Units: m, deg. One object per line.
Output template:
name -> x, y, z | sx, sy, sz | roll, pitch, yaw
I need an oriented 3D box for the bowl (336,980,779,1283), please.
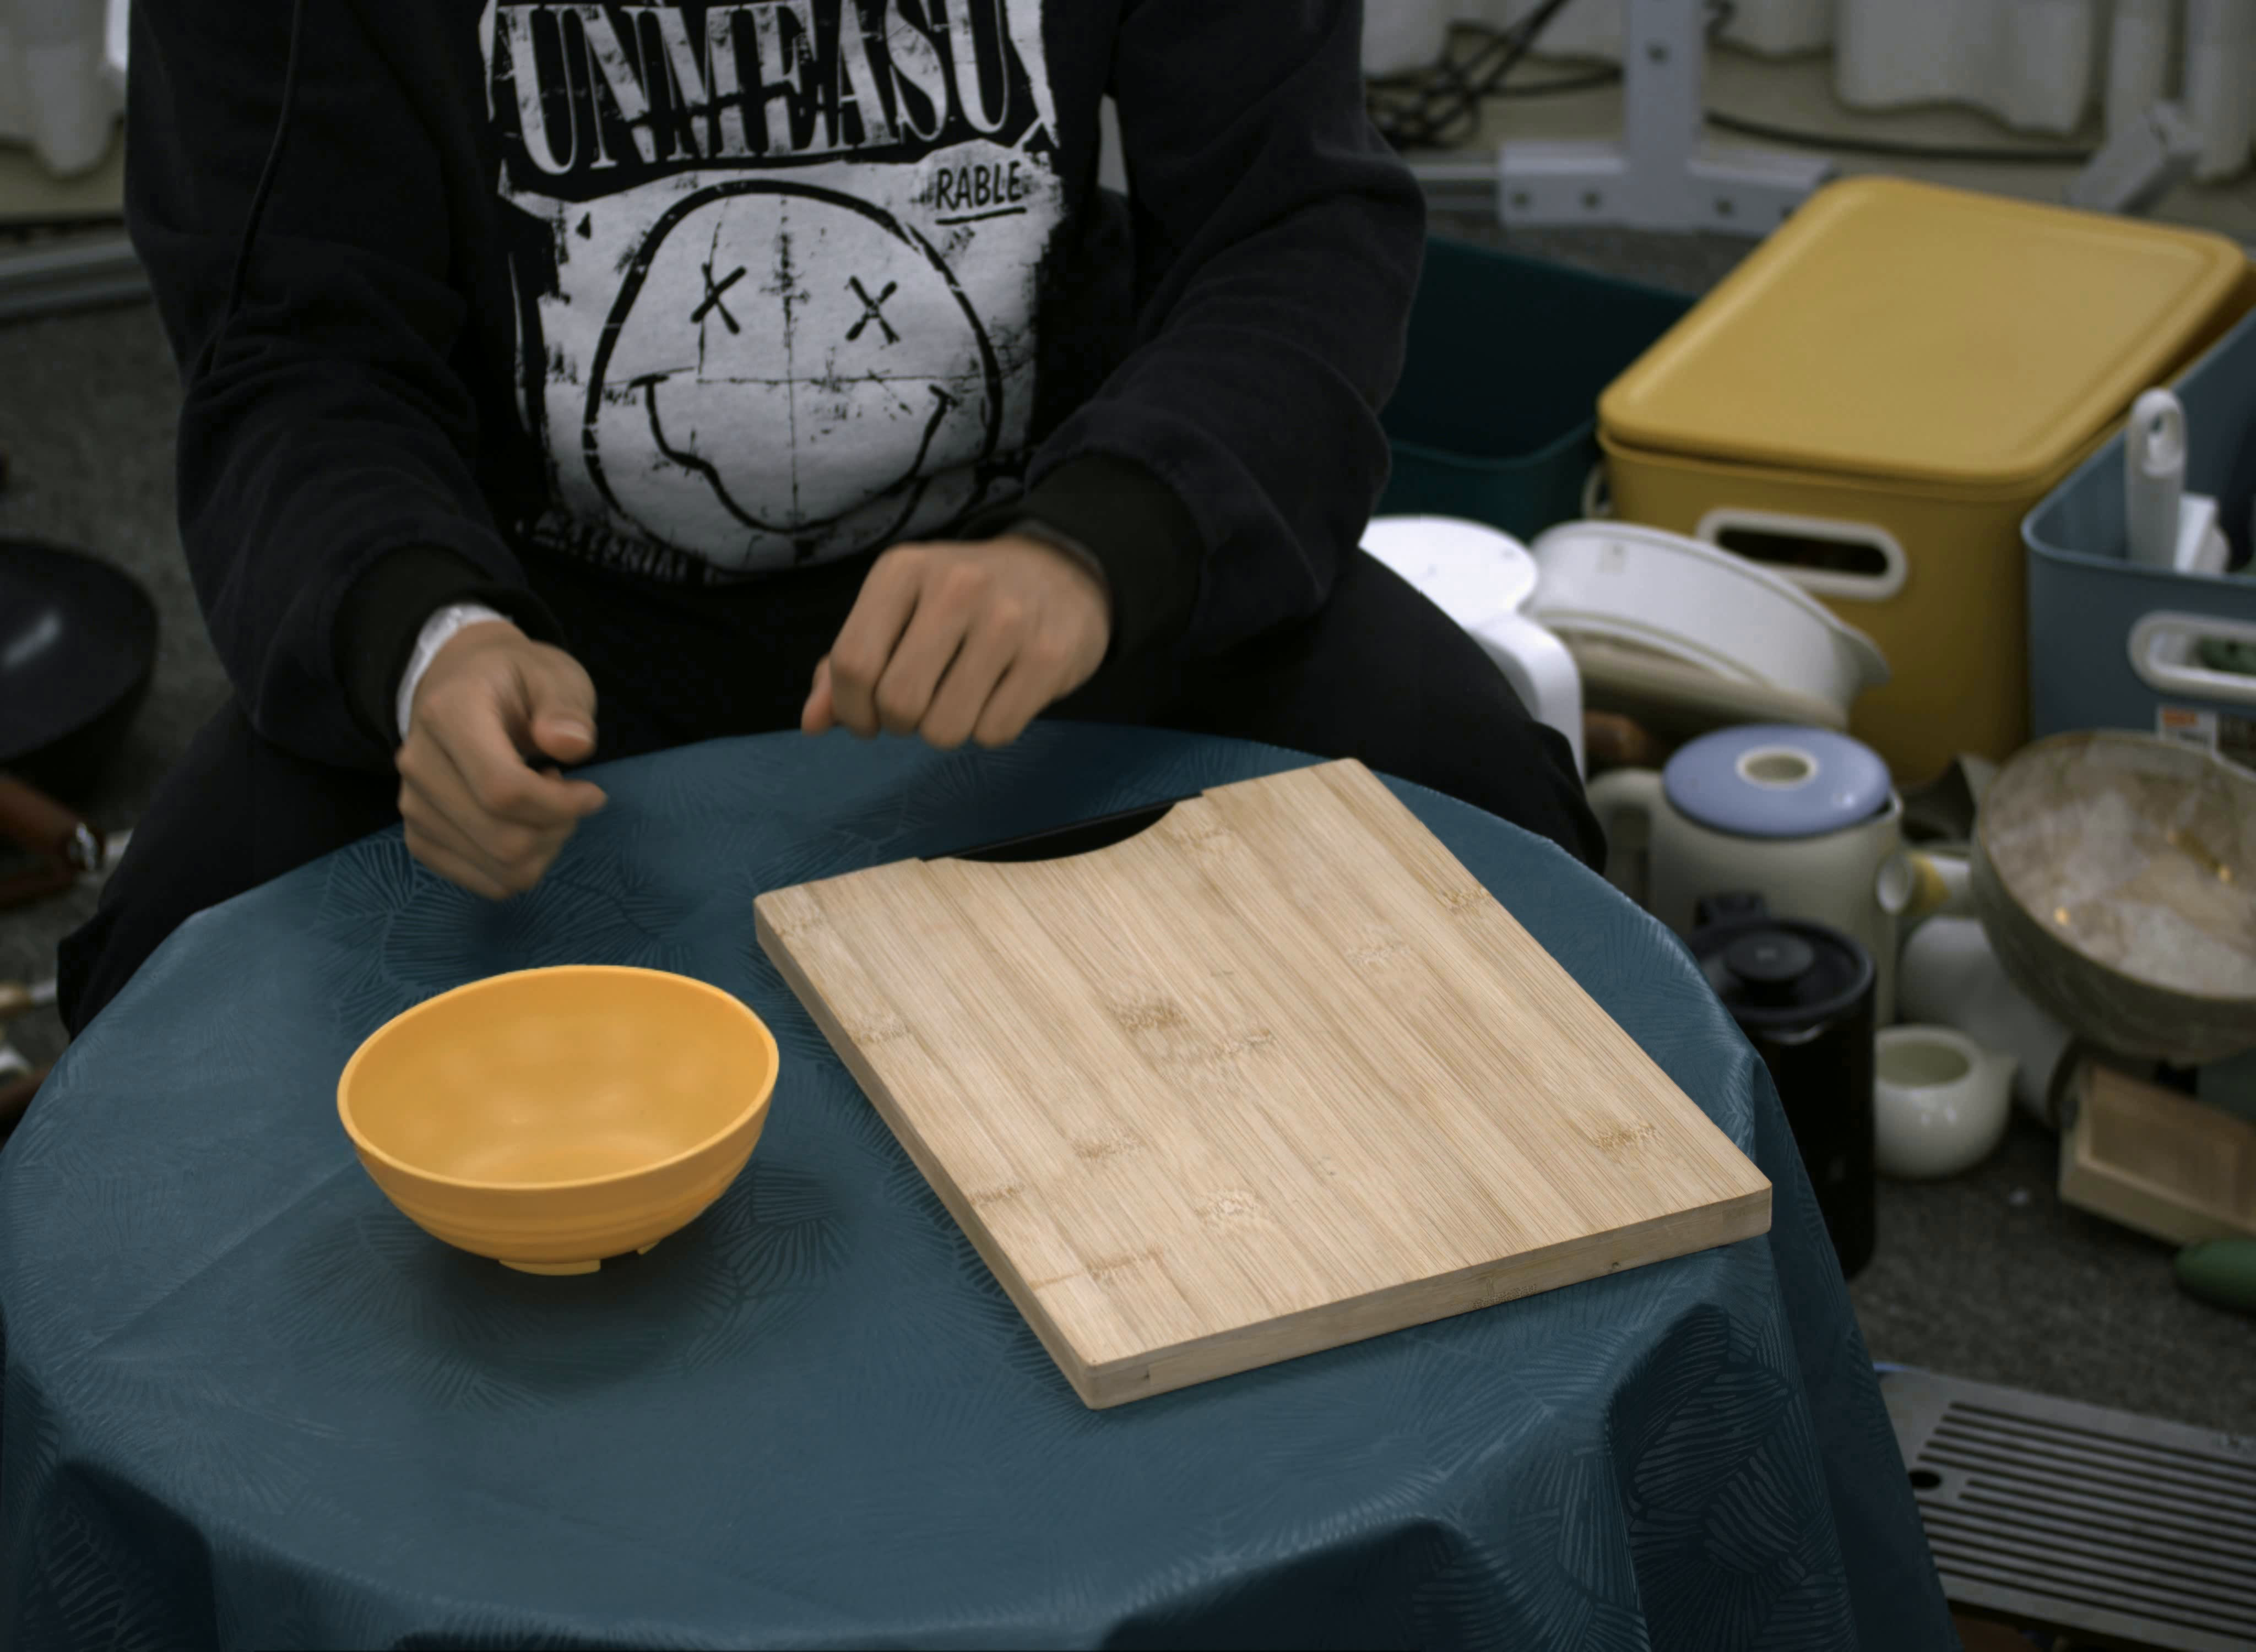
bowl -> -0.186, 0.109, 1.845 | 0.144, 0.059, 0.147 | -1, 25, 1

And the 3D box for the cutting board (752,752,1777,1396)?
cutting board -> 0.037, 0.077, 1.926 | 0.251, 0.023, 0.351 | -13, 29, -19
